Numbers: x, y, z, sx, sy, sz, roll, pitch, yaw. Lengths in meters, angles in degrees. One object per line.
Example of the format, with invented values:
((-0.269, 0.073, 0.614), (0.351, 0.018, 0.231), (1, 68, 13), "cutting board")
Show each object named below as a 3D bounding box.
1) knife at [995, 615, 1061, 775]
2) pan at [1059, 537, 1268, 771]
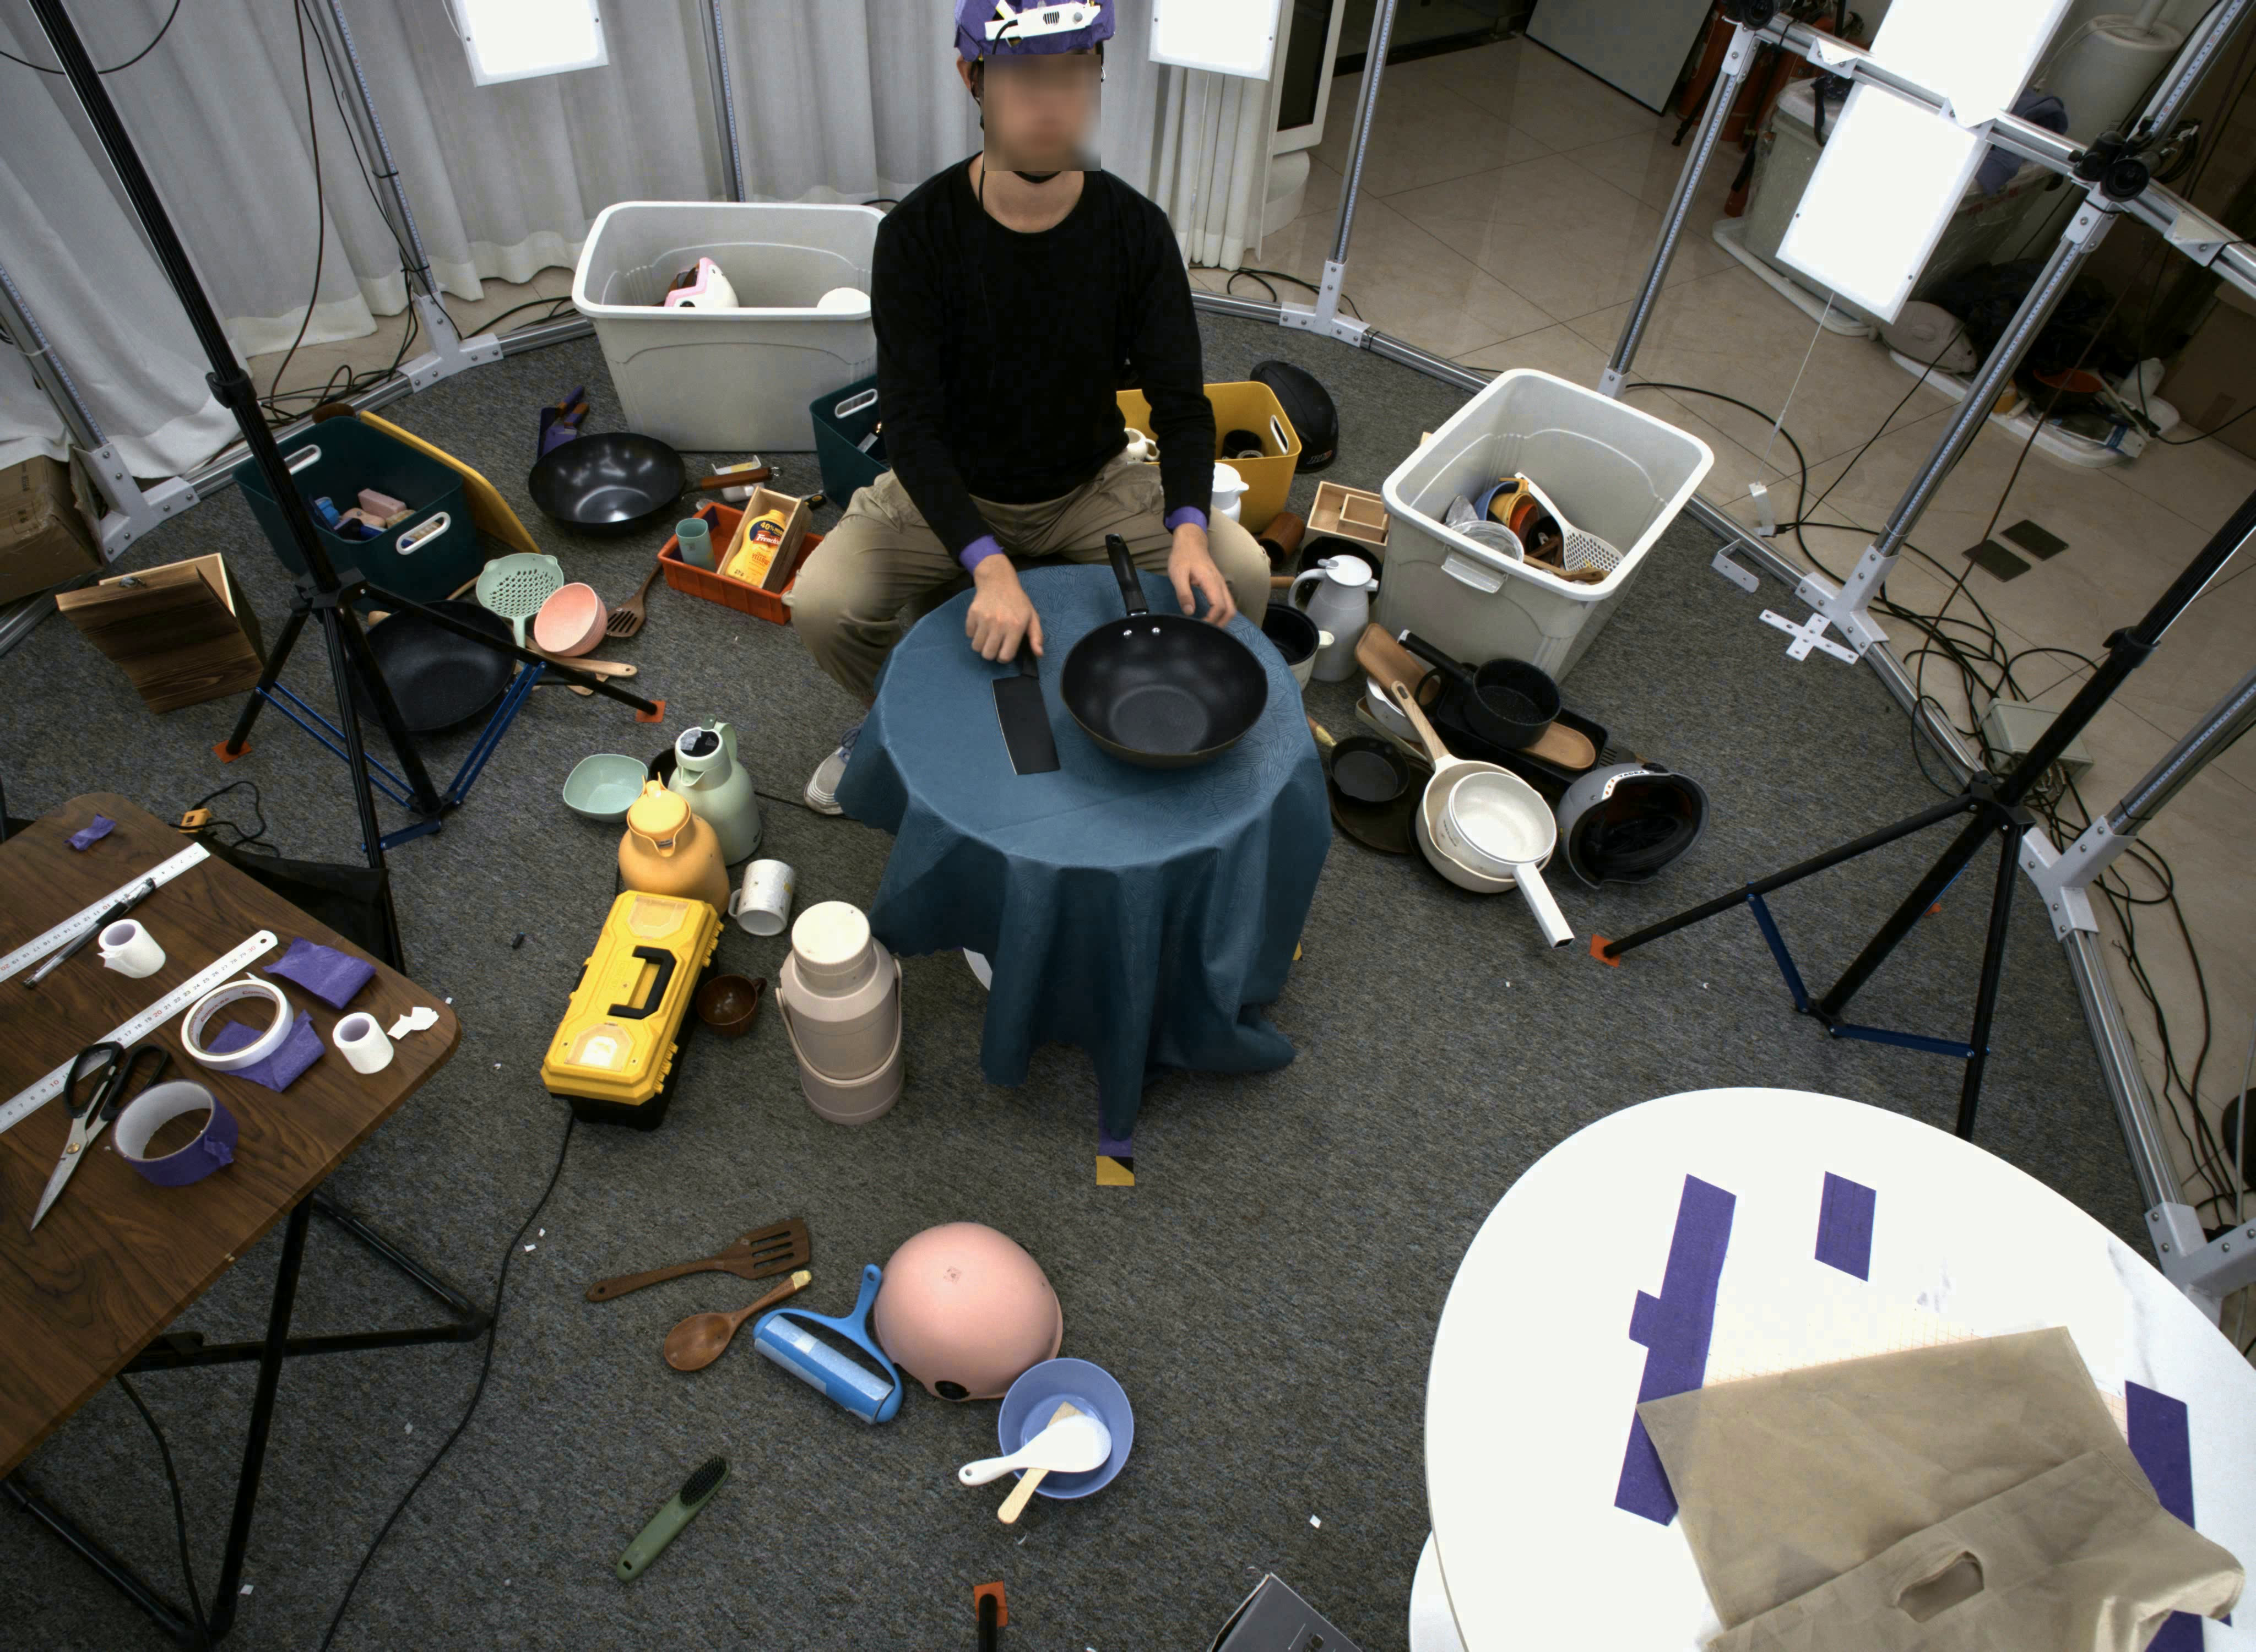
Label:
((-0.148, -0.189, 1.816), (0.081, 0.020, 0.310), (-5, 51, -6), "knife")
((0.028, -0.240, 1.825), (0.288, 0.085, 0.475), (-7, 50, -10), "pan")
